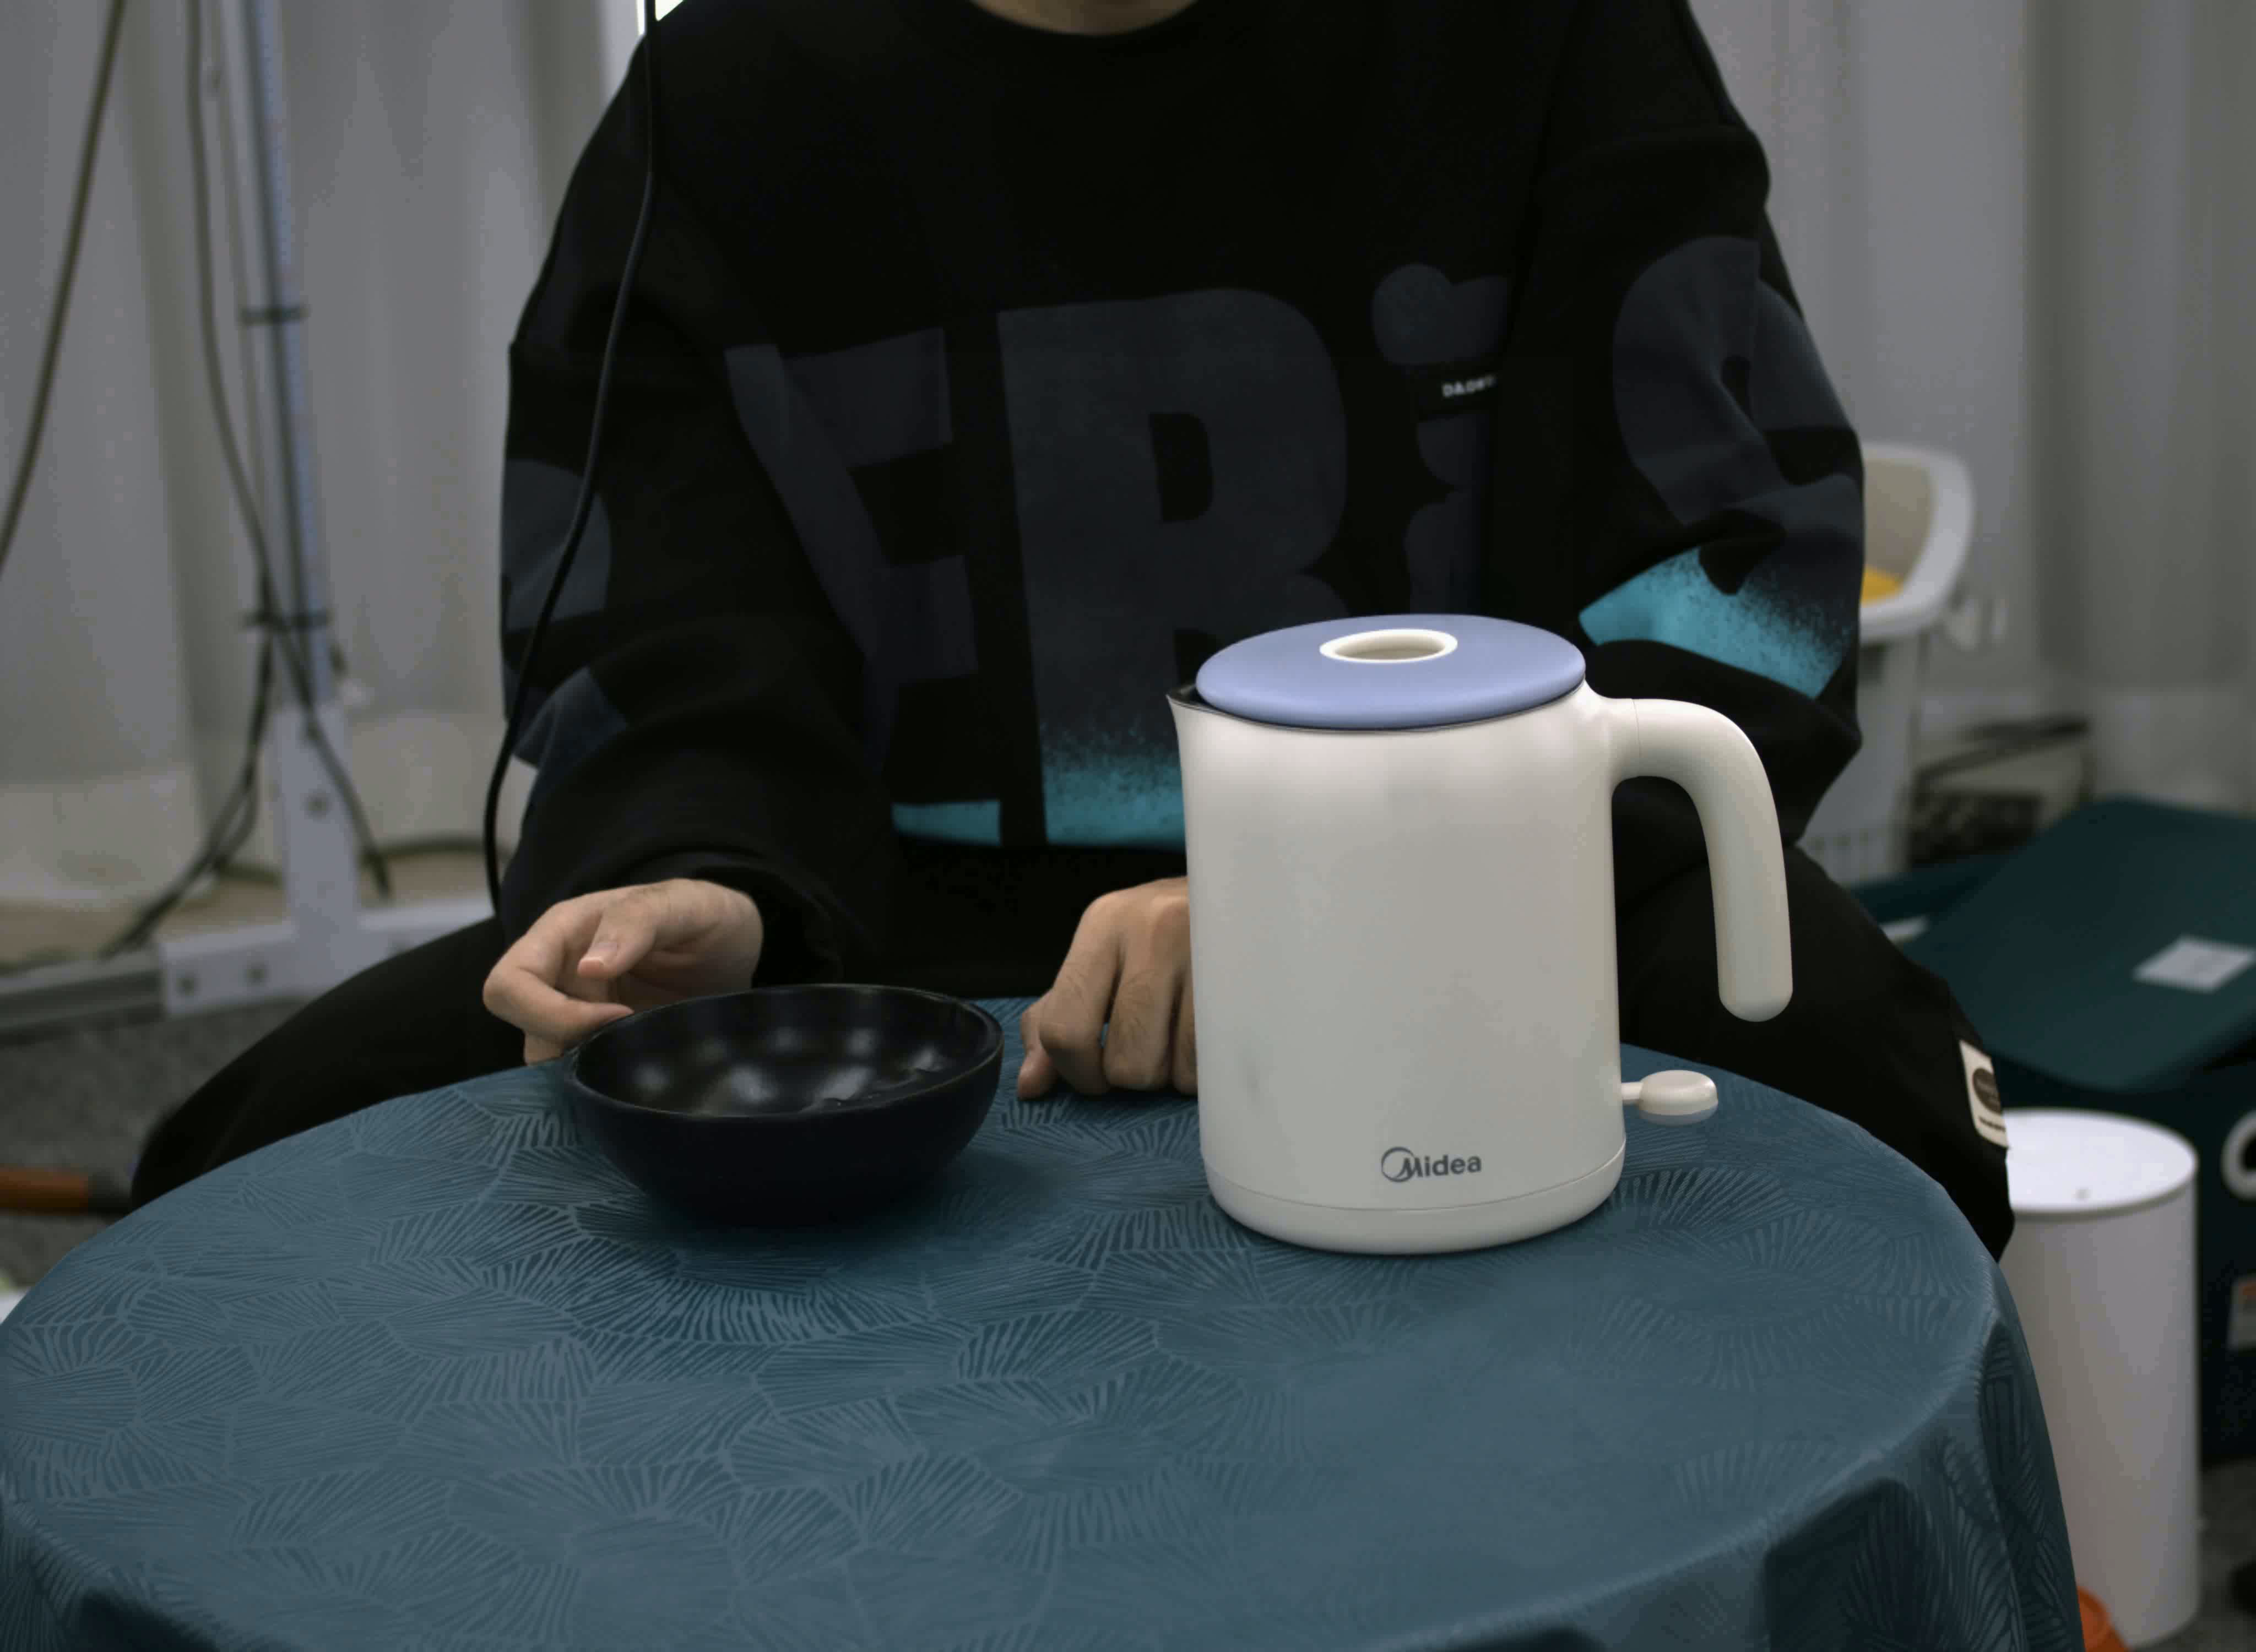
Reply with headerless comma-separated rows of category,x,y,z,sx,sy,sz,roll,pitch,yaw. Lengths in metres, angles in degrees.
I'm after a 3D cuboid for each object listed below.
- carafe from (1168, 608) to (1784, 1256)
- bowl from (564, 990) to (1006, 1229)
carafe,0.108,0.031,1.679,0.190,0.182,0.133,-2,15,-4
bowl,-0.106,0.093,1.721,0.139,0.049,0.141,-3,13,0
